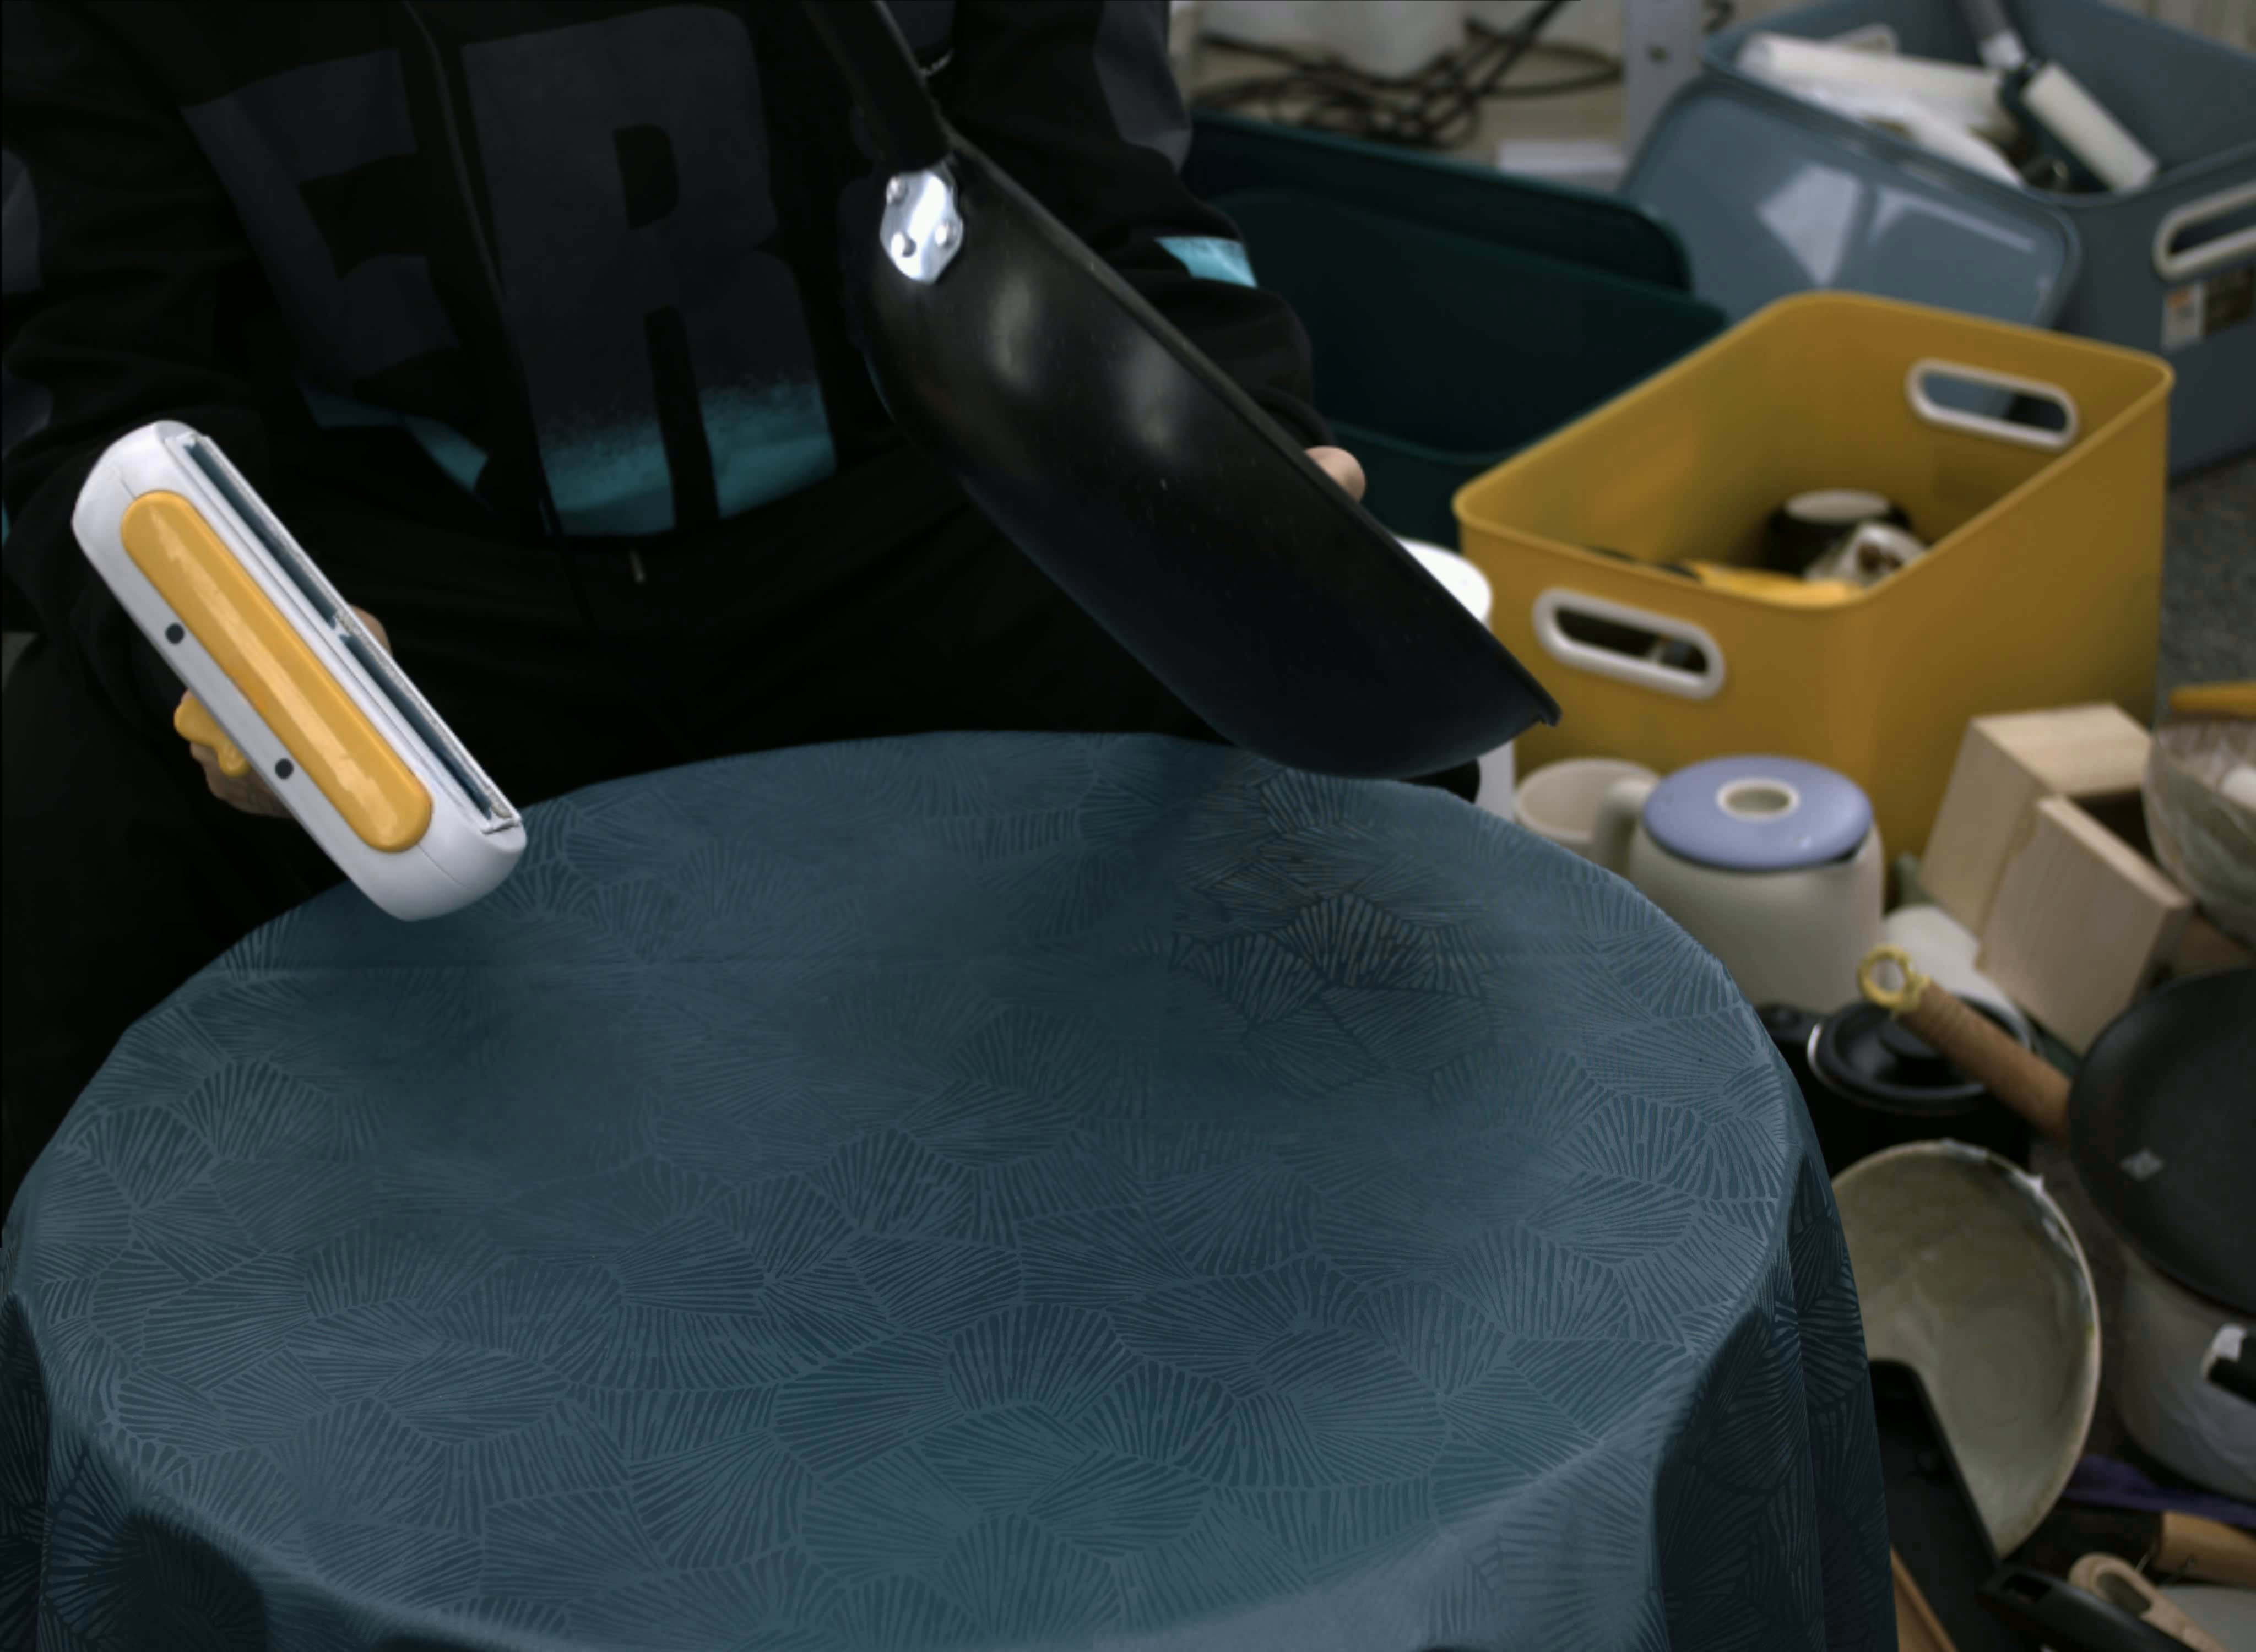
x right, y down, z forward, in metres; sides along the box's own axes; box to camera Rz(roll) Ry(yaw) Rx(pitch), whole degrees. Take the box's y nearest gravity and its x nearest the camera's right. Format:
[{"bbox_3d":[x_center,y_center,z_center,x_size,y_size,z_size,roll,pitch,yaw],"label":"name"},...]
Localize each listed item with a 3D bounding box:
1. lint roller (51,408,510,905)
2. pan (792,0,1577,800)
[{"bbox_3d":[-0.279,-0.046,1.919,0.193,0.074,0.192,46,1,7],"label":"lint roller"},{"bbox_3d":[-0.029,-0.157,1.864,0.112,0.473,0.312,-48,39,0],"label":"pan"}]
